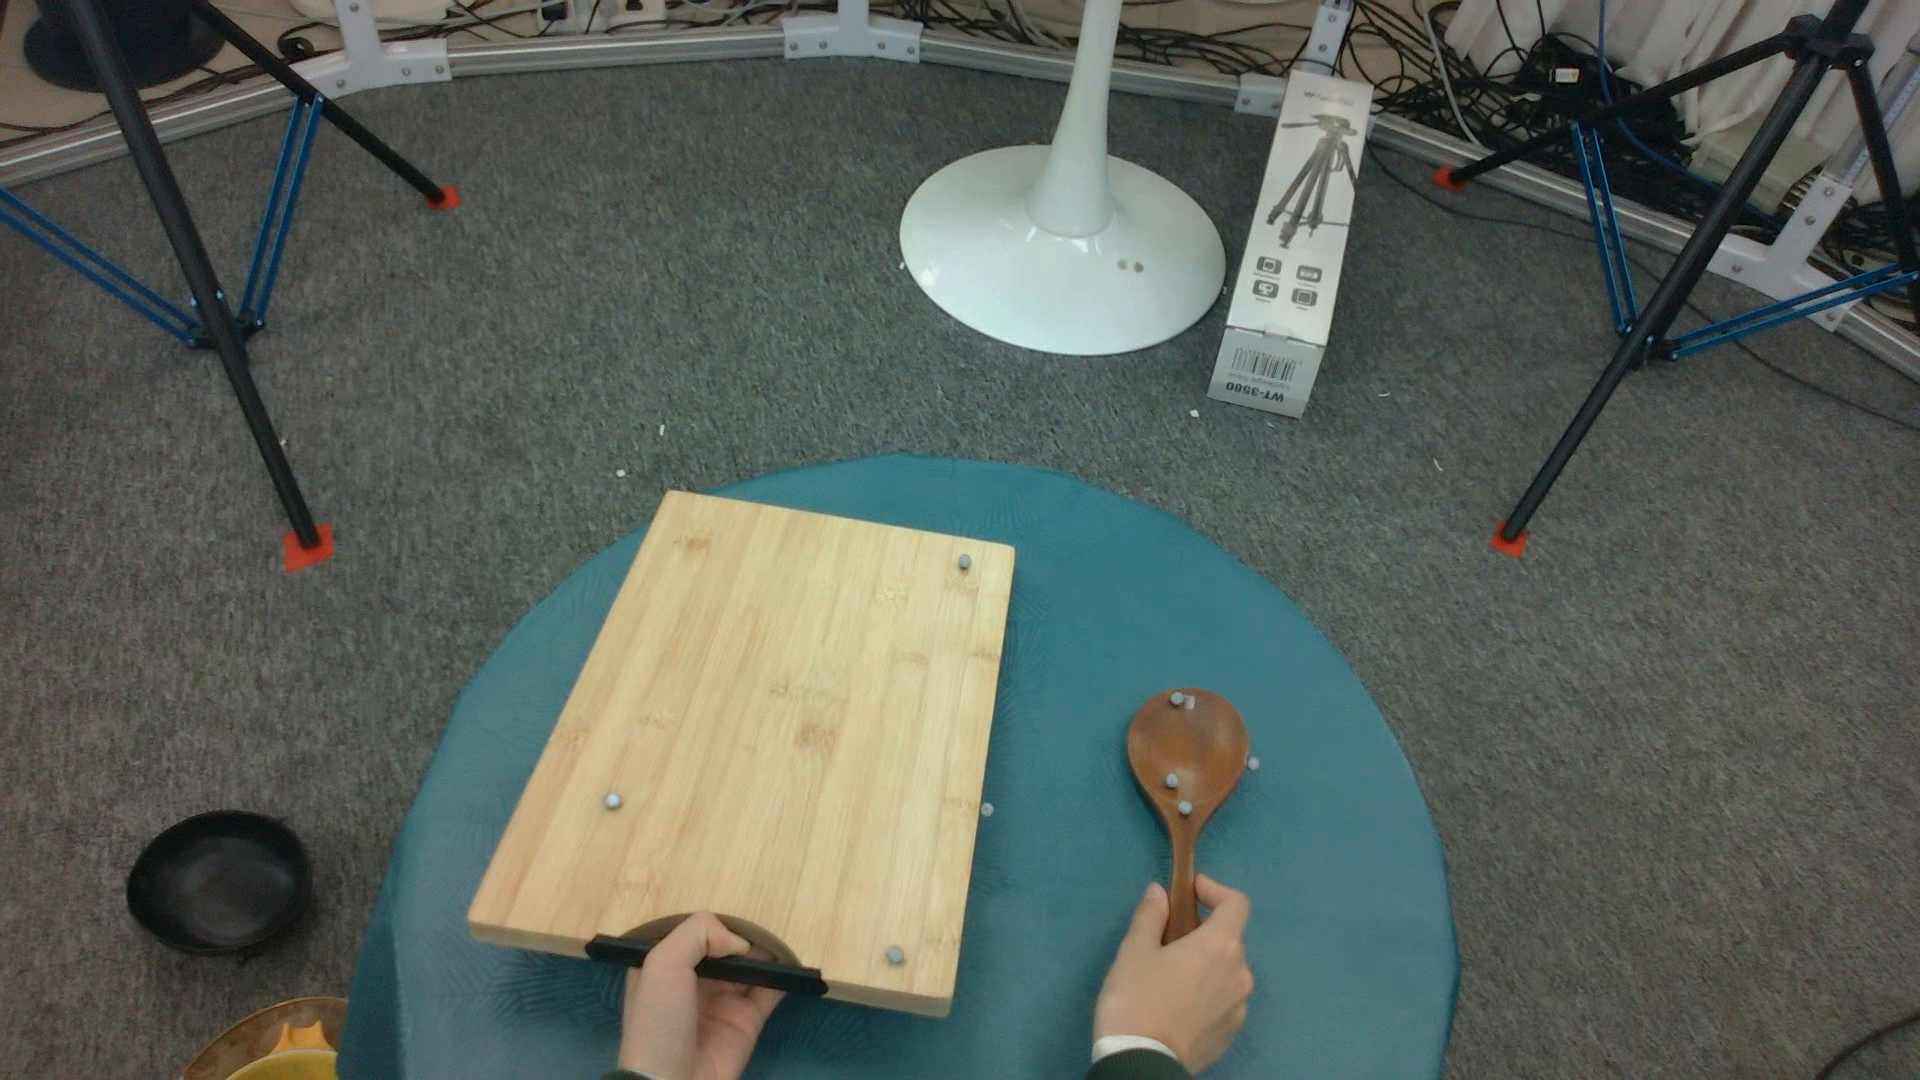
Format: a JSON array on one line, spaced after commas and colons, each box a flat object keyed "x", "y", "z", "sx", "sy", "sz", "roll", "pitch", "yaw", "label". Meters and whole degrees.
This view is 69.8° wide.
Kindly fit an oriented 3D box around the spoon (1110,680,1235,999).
[{"x": 0.120, "y": 0.164, "z": 0.793, "sx": 0.075, "sy": 0.017, "sz": 0.217, "roll": 4, "pitch": 42, "yaw": 7, "label": "spoon"}]

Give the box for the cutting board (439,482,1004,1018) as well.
[{"x": -0.111, "y": 0.098, "z": 0.797, "sx": 0.251, "sy": 0.023, "sz": 0.350, "roll": 8, "pitch": 41, "yaw": 0, "label": "cutting board"}]
